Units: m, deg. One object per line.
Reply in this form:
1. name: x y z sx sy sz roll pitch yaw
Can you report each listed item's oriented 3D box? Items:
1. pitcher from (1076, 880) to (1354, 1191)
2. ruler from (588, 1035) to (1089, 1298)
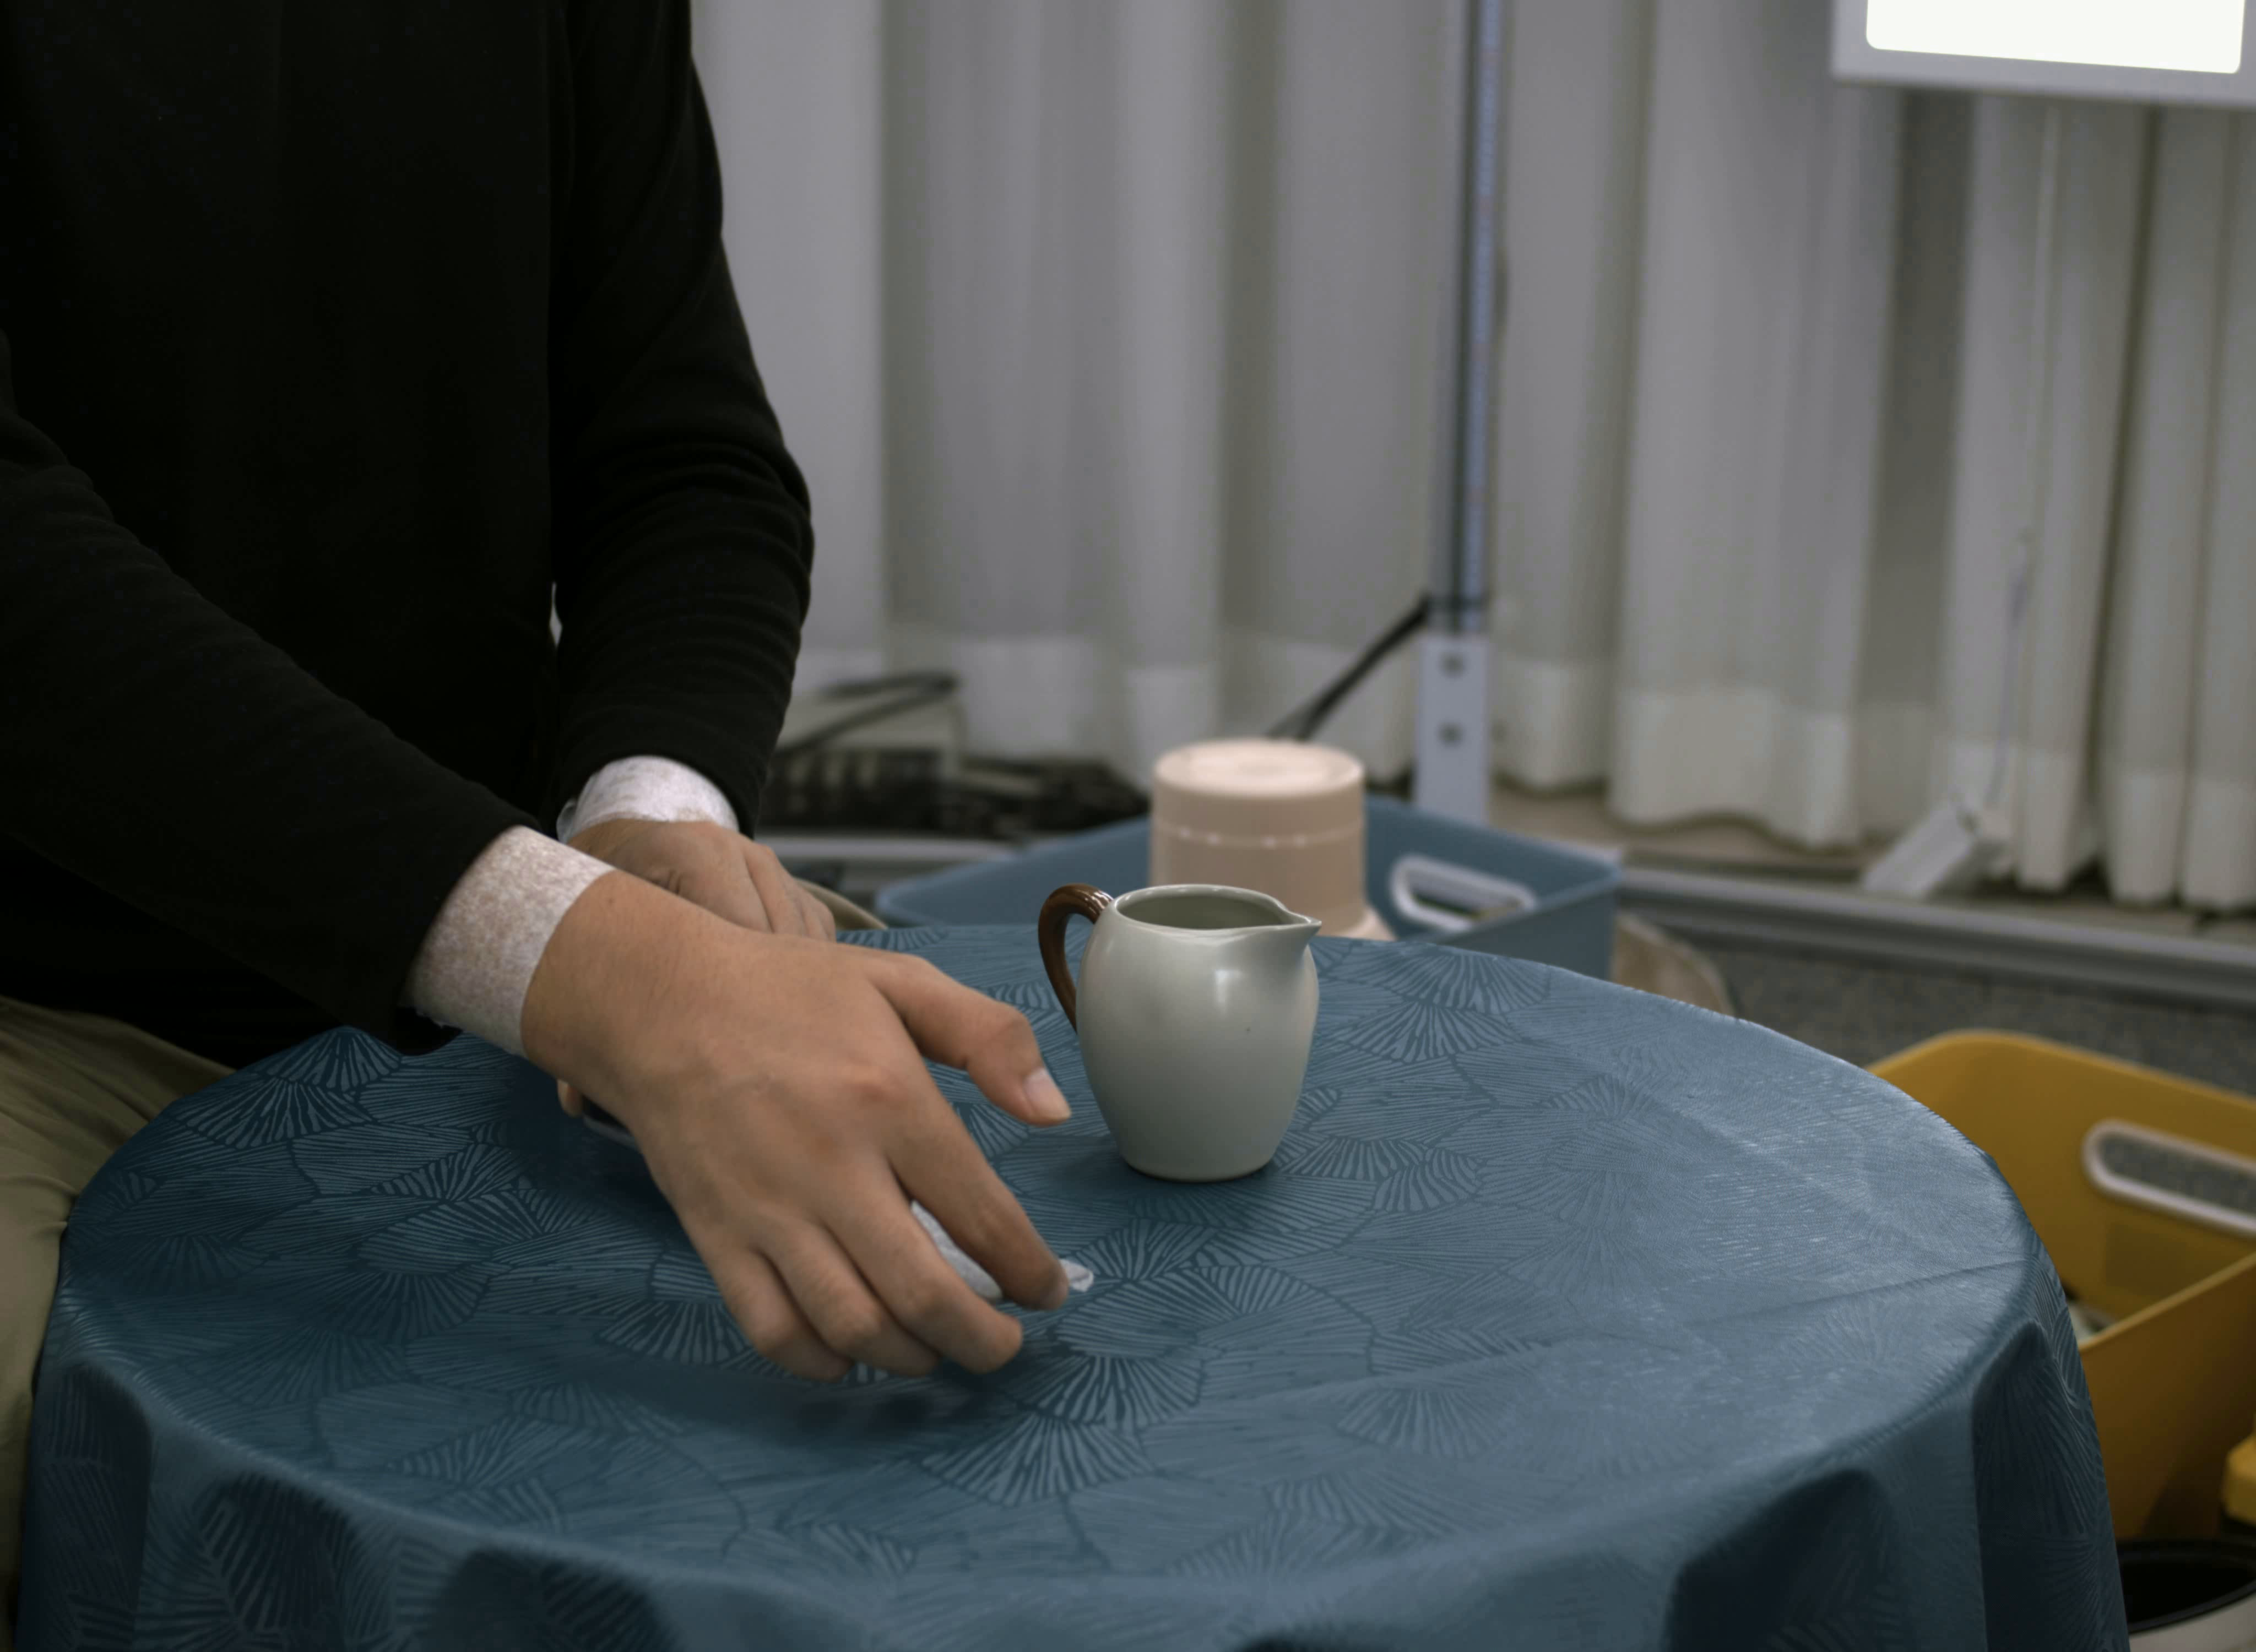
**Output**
1. pitcher: 0.024 0.063 1.636 0.076 0.088 0.117 -10 20 -42
2. ruler: -0.092 0.097 1.546 0.038 0.024 0.215 -20 23 -35
